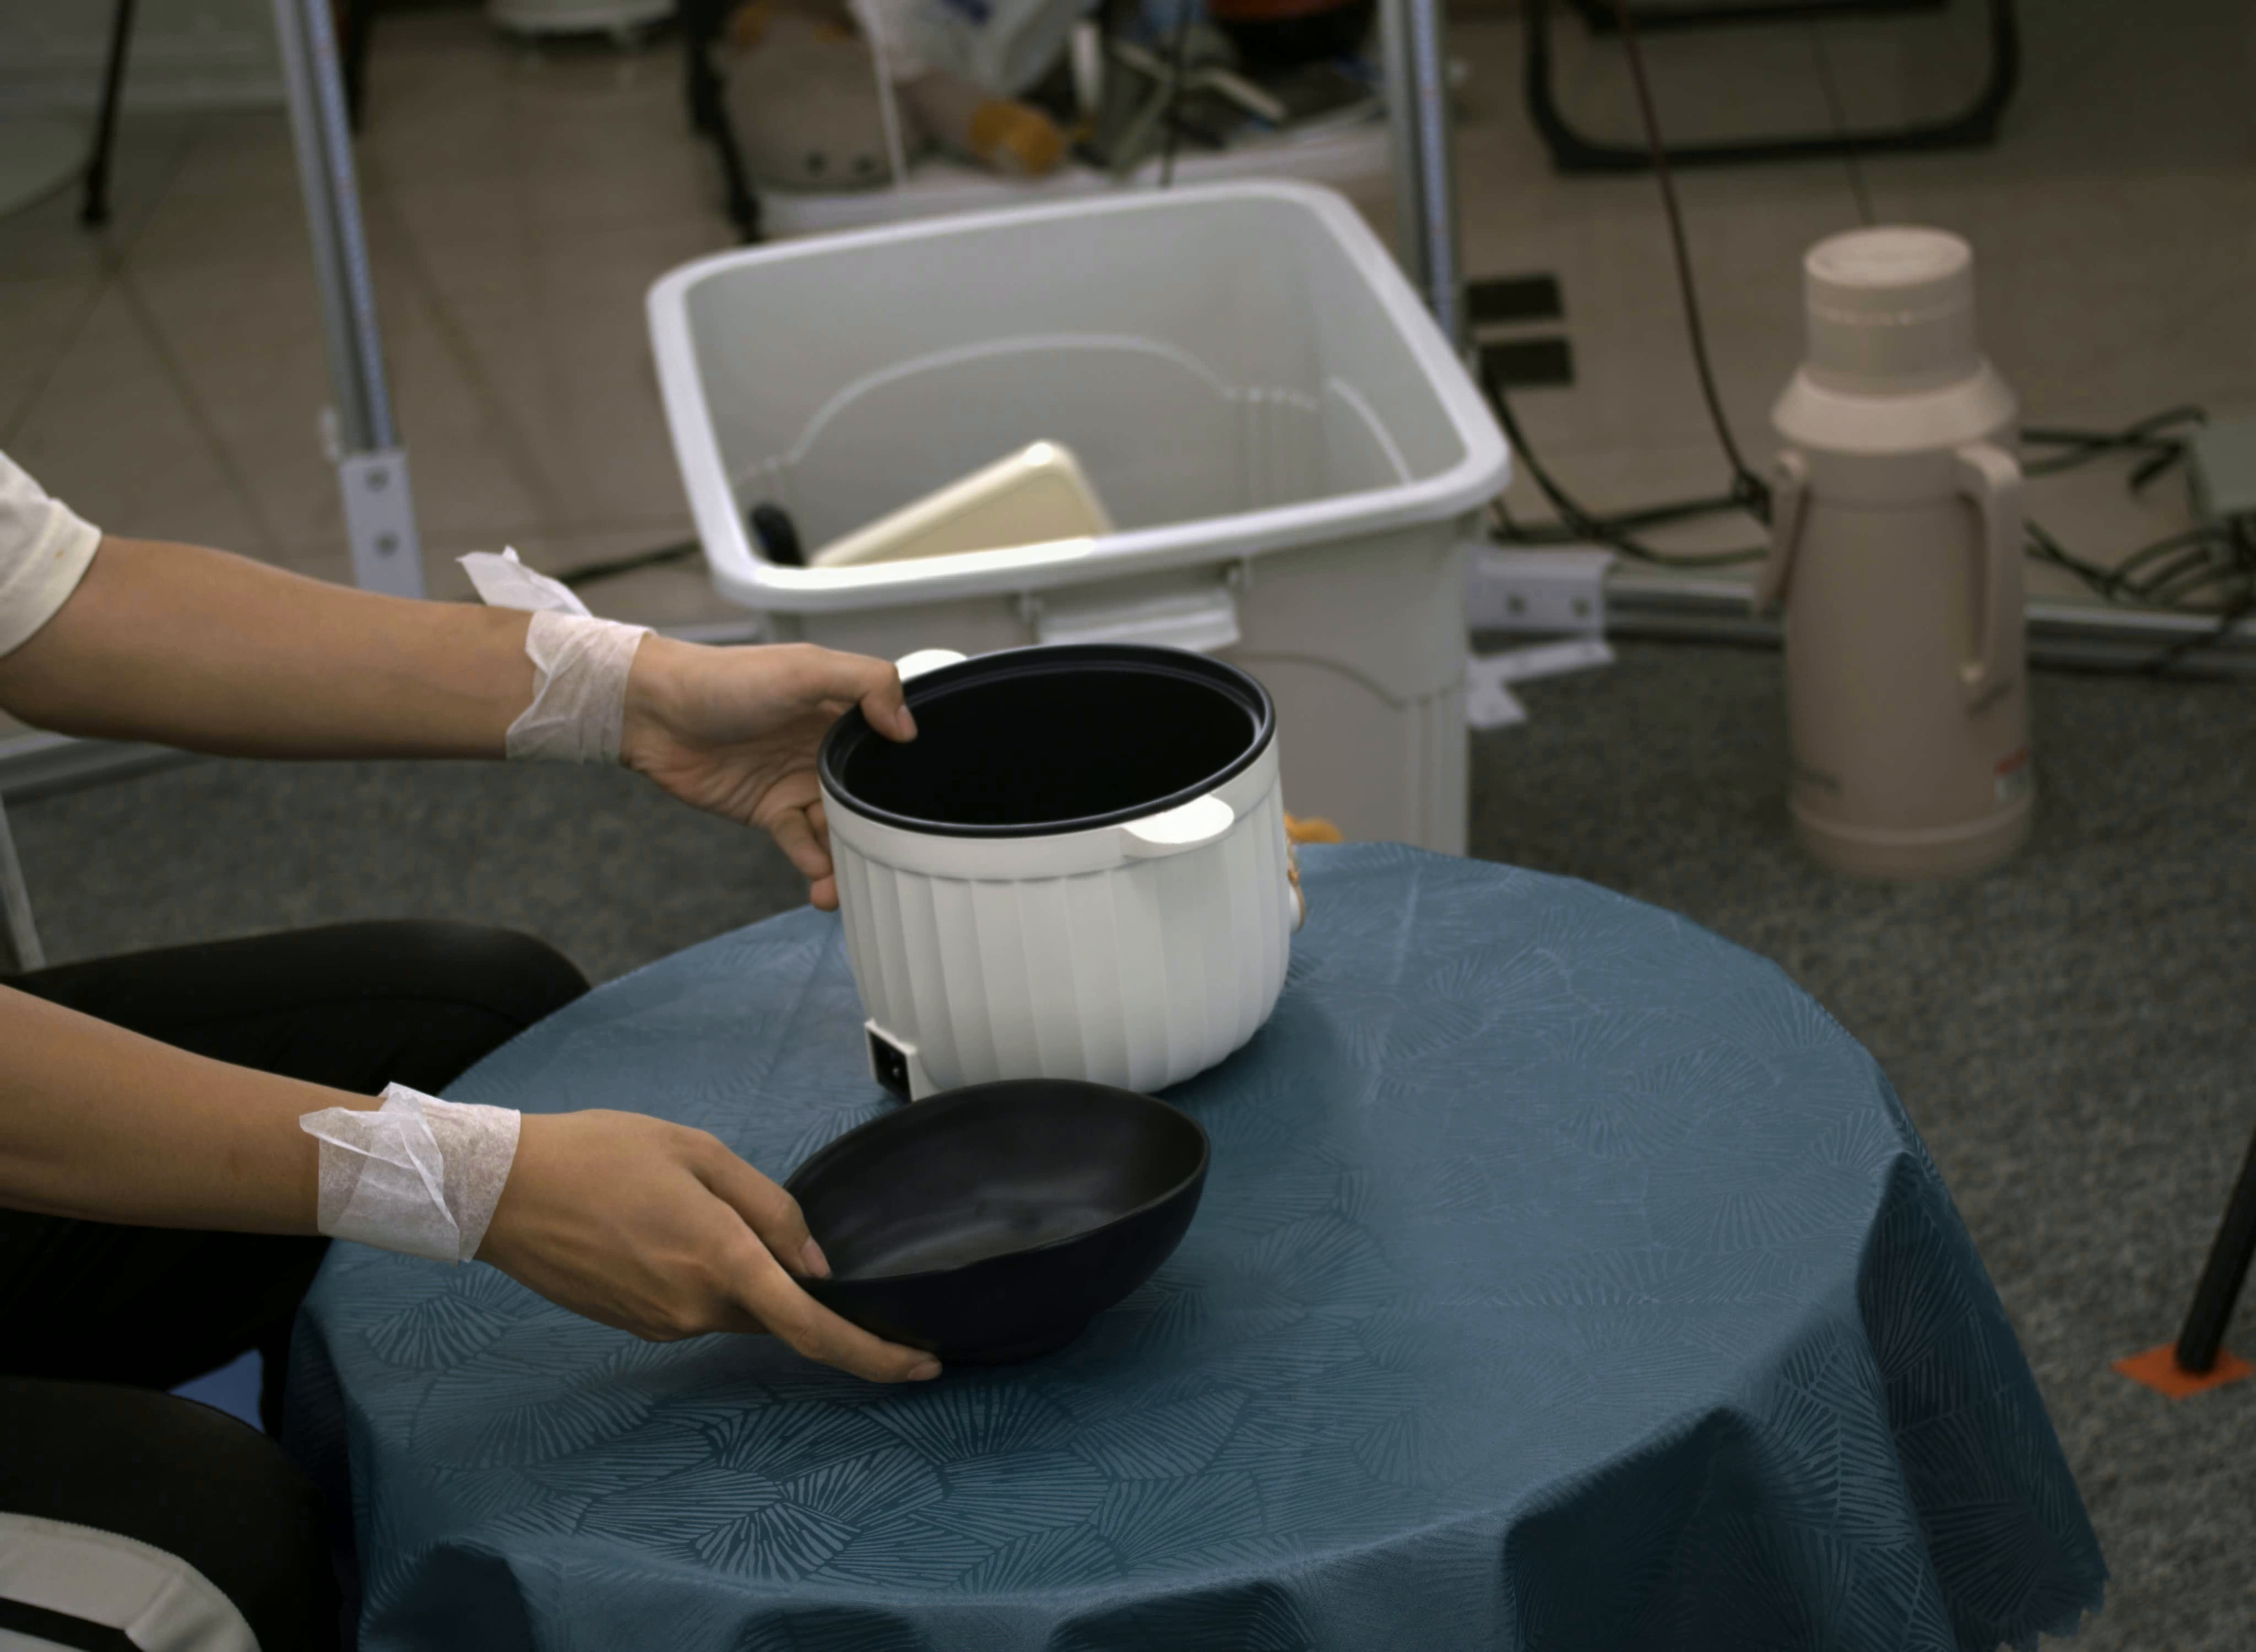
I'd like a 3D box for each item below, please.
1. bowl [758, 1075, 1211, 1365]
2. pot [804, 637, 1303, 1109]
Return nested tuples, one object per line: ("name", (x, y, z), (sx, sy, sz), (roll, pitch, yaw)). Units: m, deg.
("bowl", (-0.048, 0.152, 2.057), (0.169, 0.068, 0.136), (-16, 25, -19))
("pot", (-0.022, 0.021, 2.244), (0.189, 0.145, 0.238), (-23, 30, -25))
